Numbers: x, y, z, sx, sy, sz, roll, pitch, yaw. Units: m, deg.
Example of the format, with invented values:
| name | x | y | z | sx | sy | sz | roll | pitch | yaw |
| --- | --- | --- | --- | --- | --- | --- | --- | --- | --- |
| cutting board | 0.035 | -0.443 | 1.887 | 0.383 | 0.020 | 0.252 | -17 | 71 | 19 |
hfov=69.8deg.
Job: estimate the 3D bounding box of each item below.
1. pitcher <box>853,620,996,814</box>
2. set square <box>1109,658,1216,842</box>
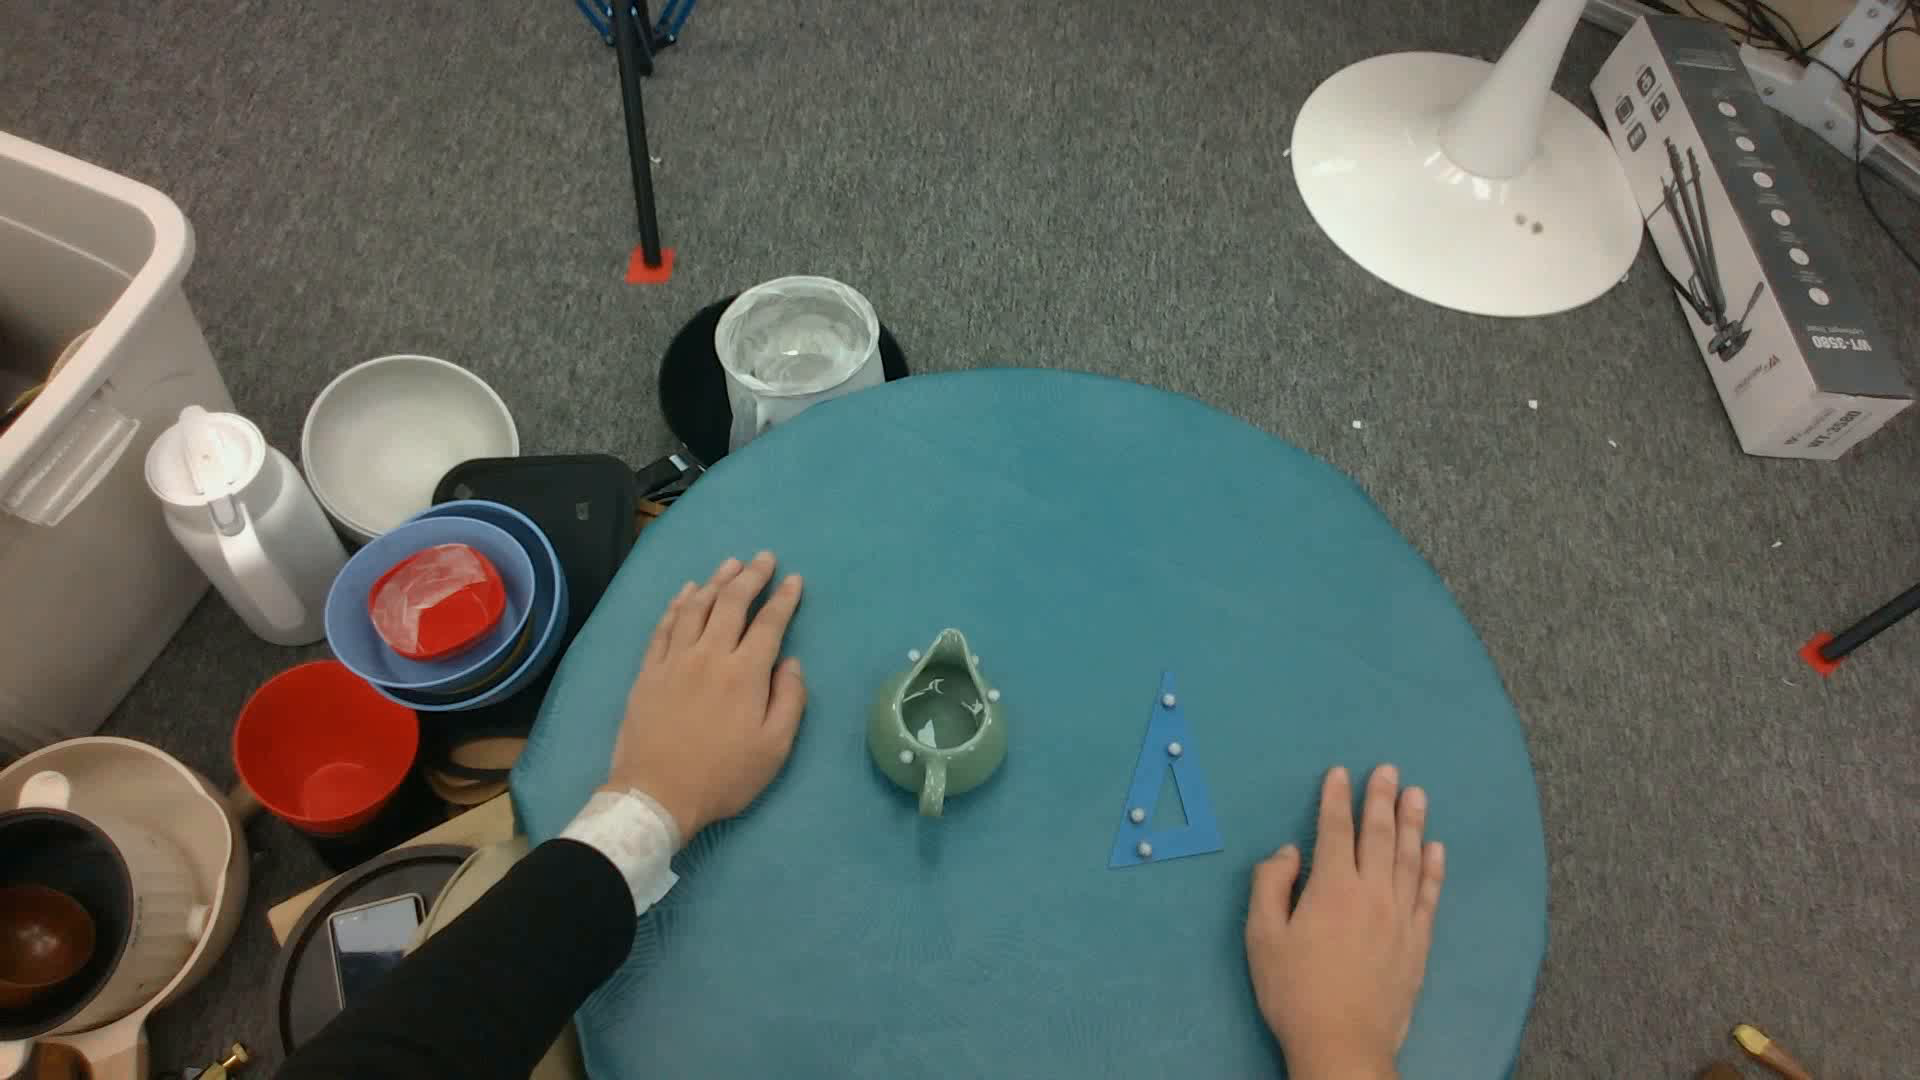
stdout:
| name | x | y | z | sx | sy | sz | roll | pitch | yaw |
| --- | --- | --- | --- | --- | --- | --- | --- | --- | --- |
| pitcher | -0.020 | 0.108 | 0.798 | 0.084 | 0.056 | 0.113 | 5 | 60 | -2 |
| set square | 0.137 | 0.133 | 0.833 | 0.061 | 0.006 | 0.132 | 22 | 60 | 7 |
